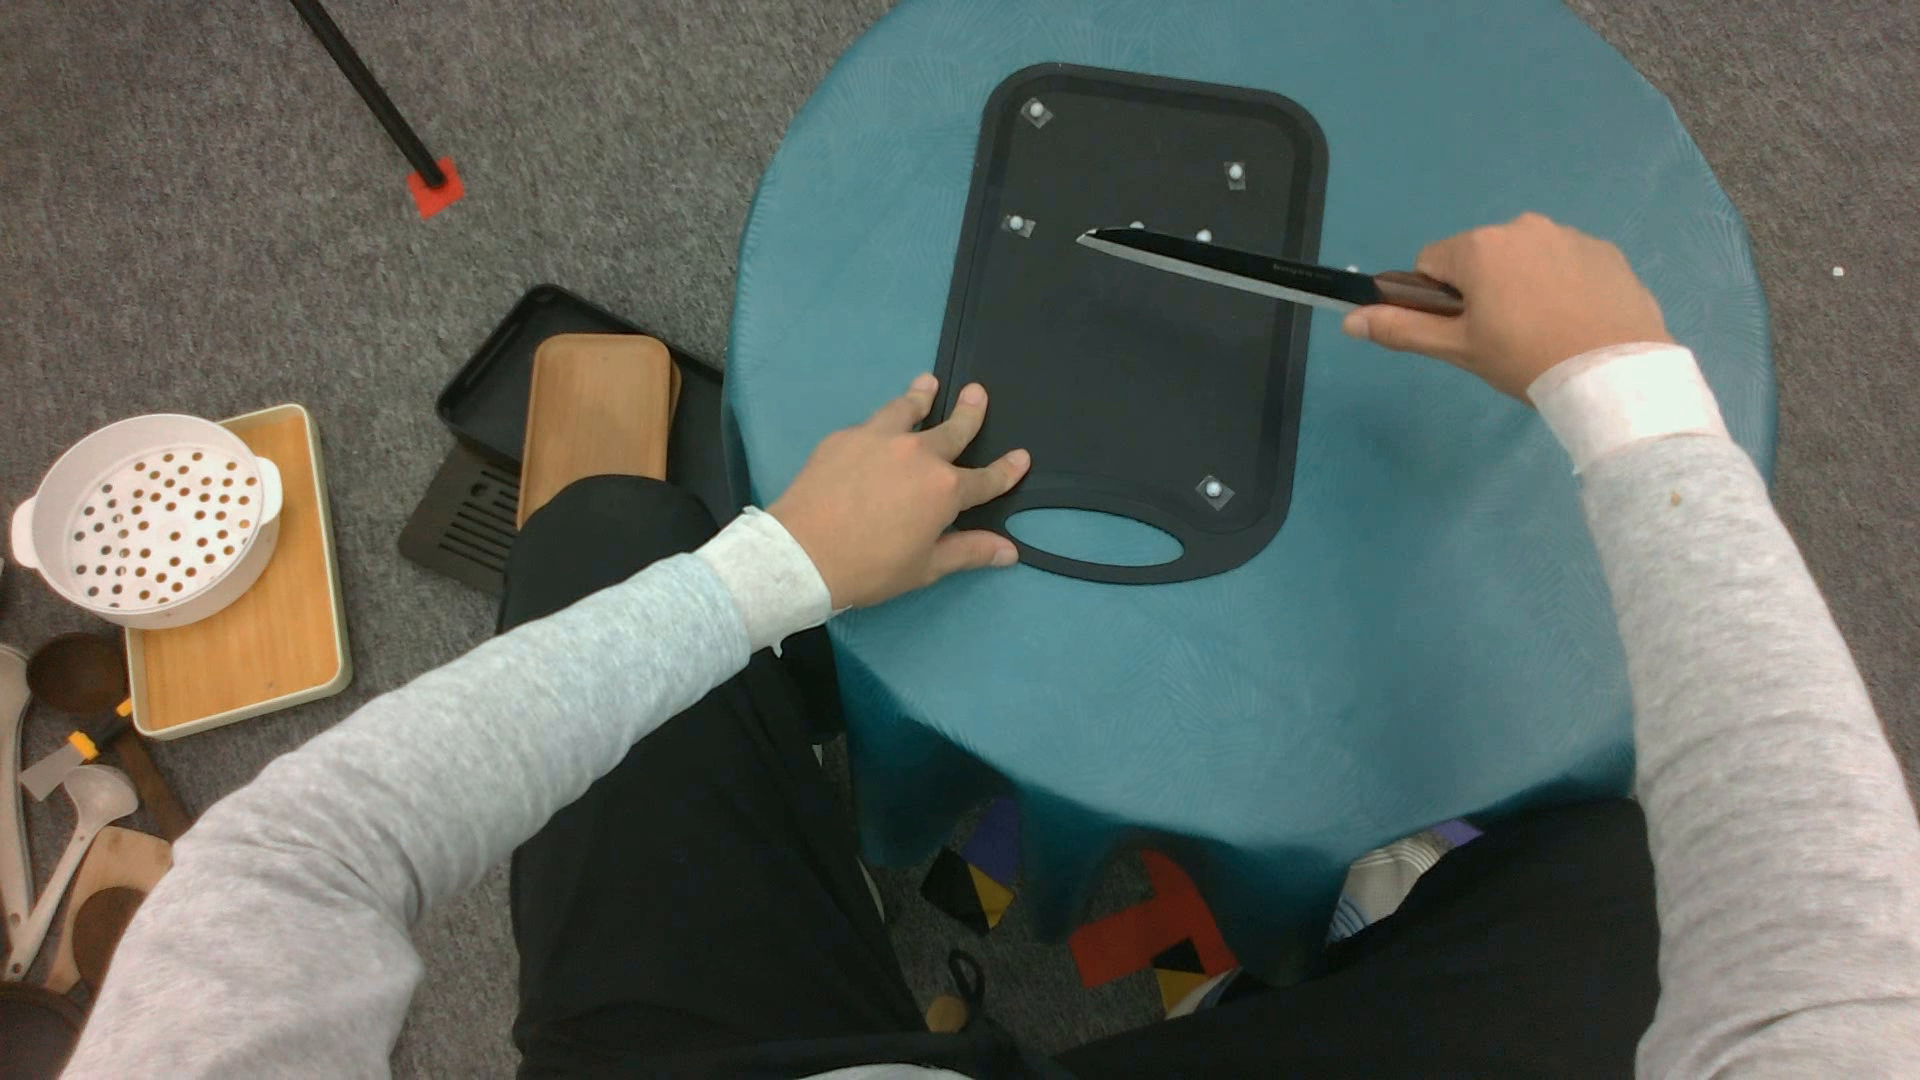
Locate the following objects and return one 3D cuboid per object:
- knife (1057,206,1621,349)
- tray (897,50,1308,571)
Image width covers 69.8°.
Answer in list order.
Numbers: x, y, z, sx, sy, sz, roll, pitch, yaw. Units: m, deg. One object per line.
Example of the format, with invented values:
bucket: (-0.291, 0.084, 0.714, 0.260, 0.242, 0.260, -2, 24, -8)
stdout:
knife: (0.182, -0.138, 0.705, 0.289, 0.050, 0.020, 16, 75, 21)
tray: (0.086, -0.139, 0.796, 0.211, 0.010, 0.326, 10, 73, 3)
